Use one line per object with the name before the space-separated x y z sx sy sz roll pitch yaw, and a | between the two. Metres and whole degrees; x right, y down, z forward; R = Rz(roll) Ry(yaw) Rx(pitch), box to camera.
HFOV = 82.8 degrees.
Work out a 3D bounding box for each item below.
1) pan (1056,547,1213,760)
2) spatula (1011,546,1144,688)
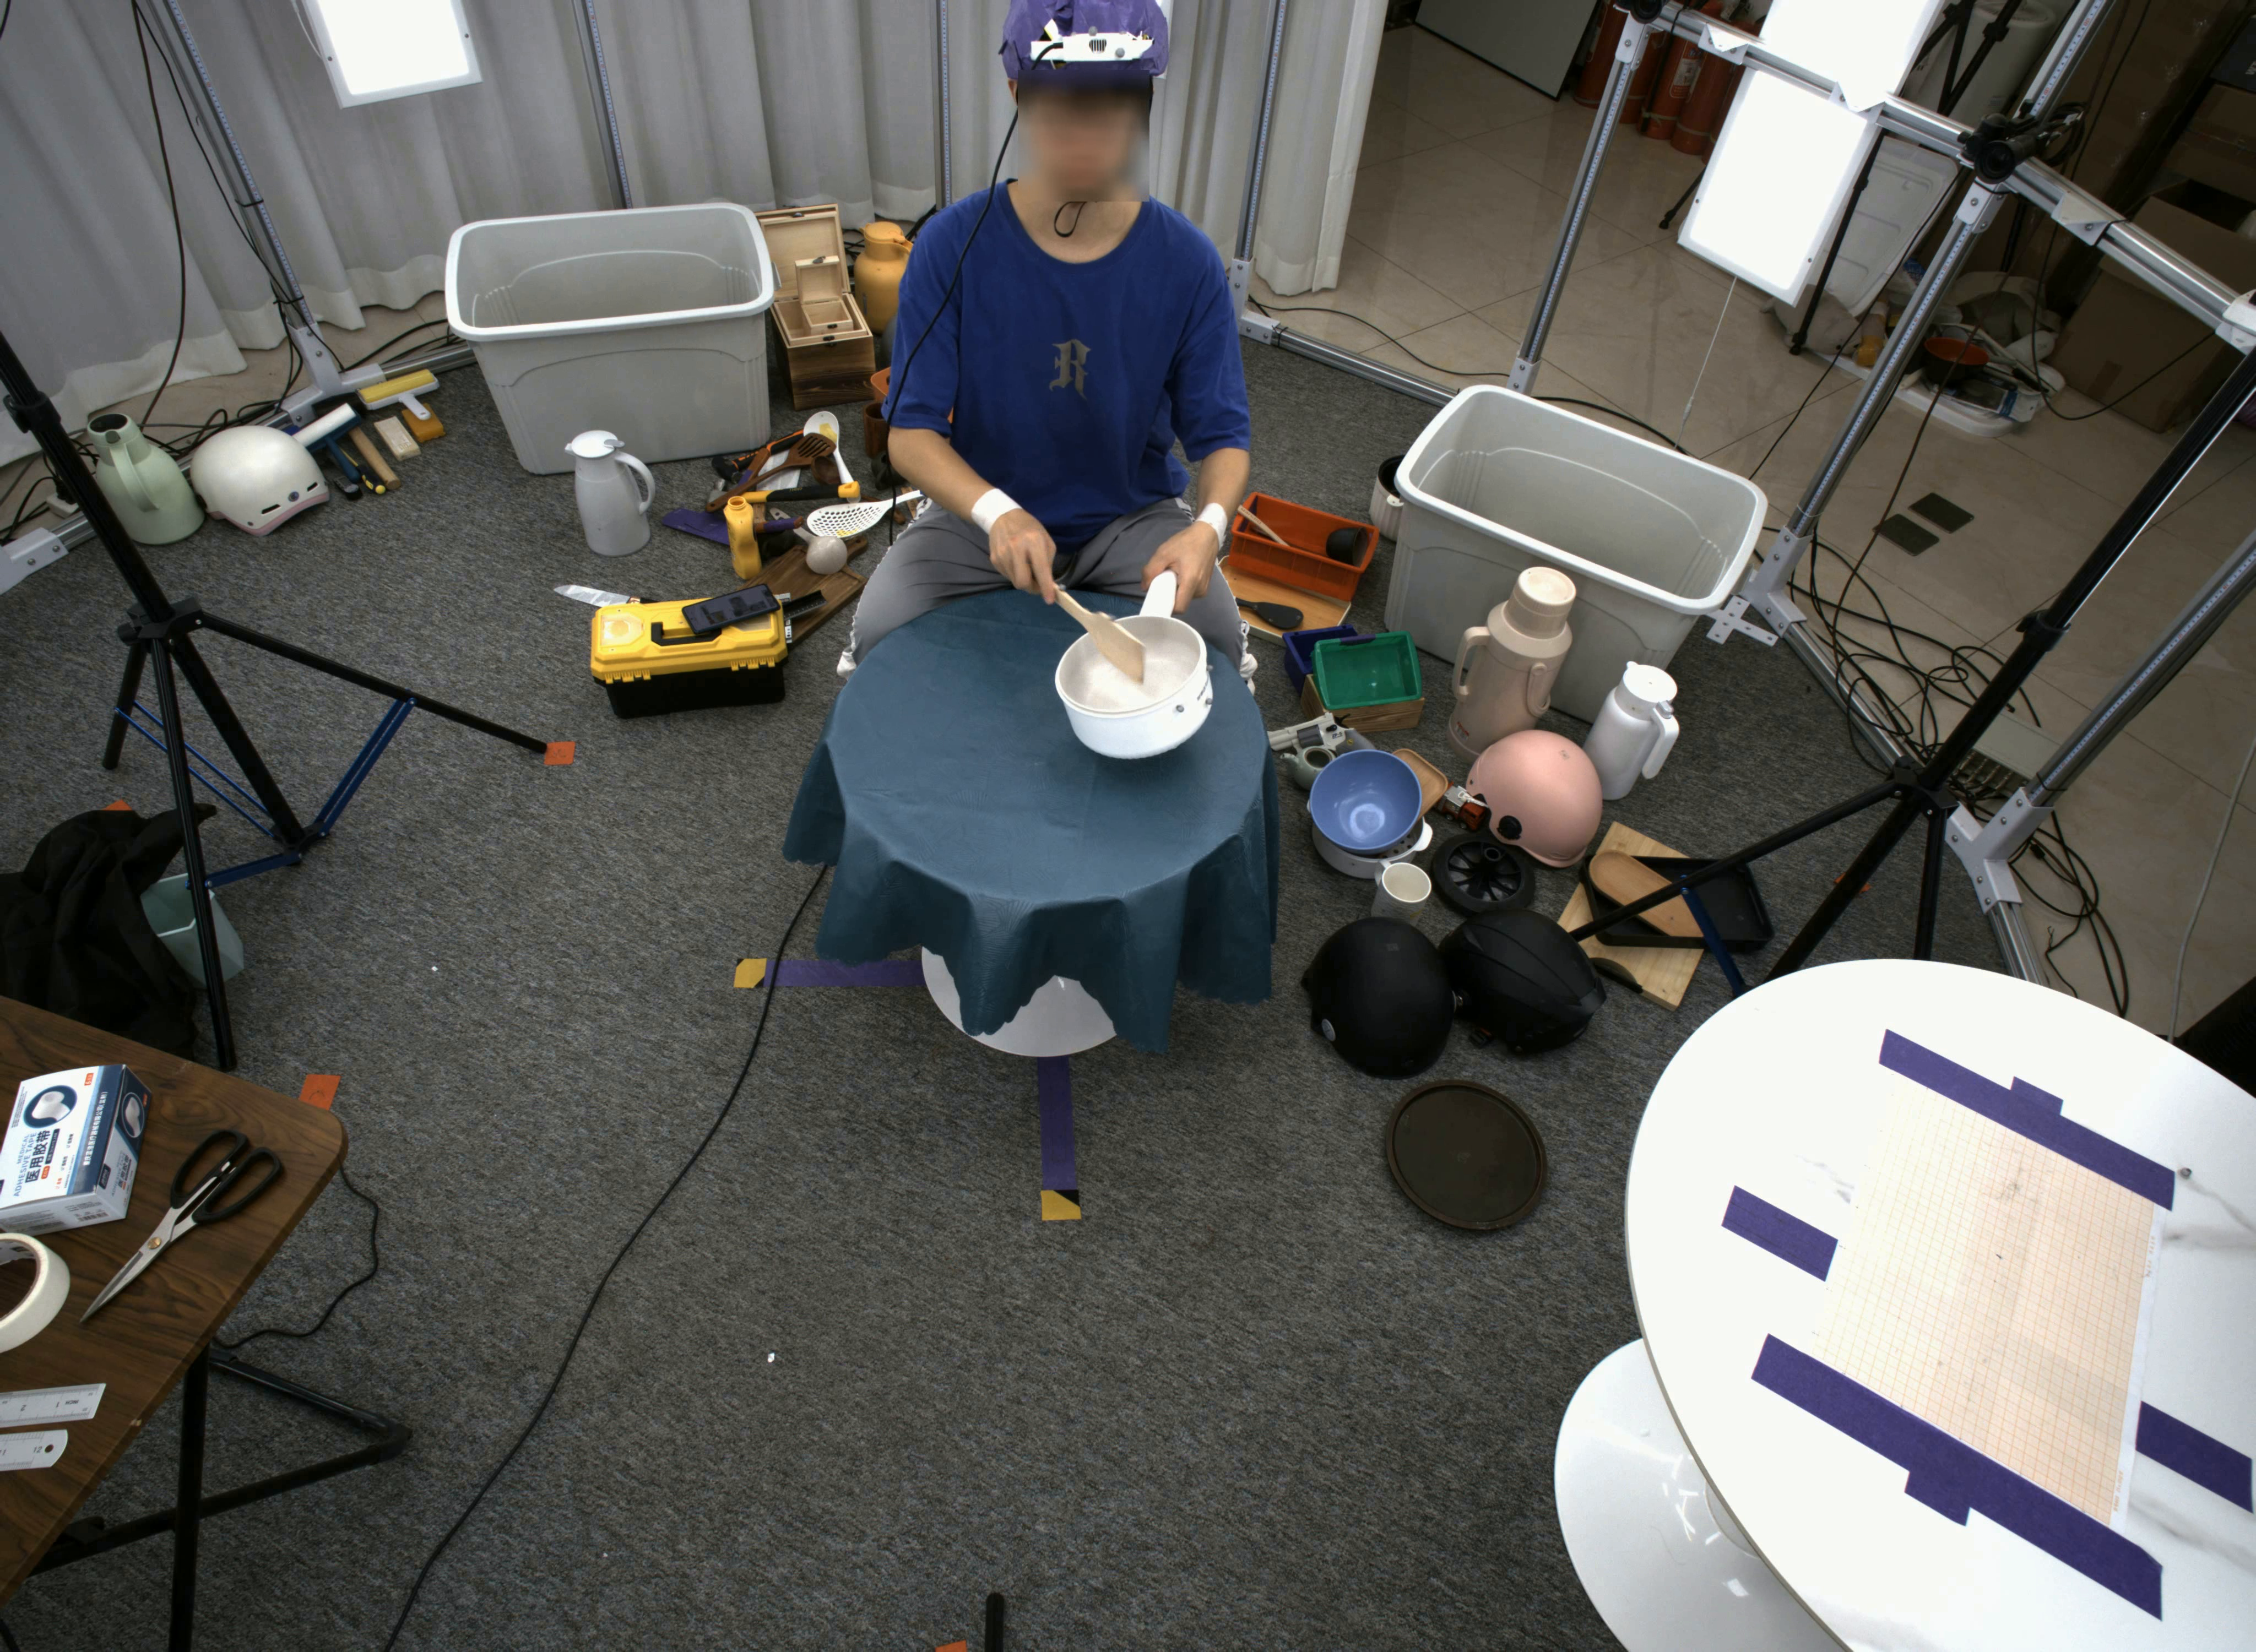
pan | 0.032 -0.236 1.756 0.202 0.099 0.362 0 47 21
spatula | -0.073 -0.292 1.724 0.011 0.070 0.298 -26 55 -28
